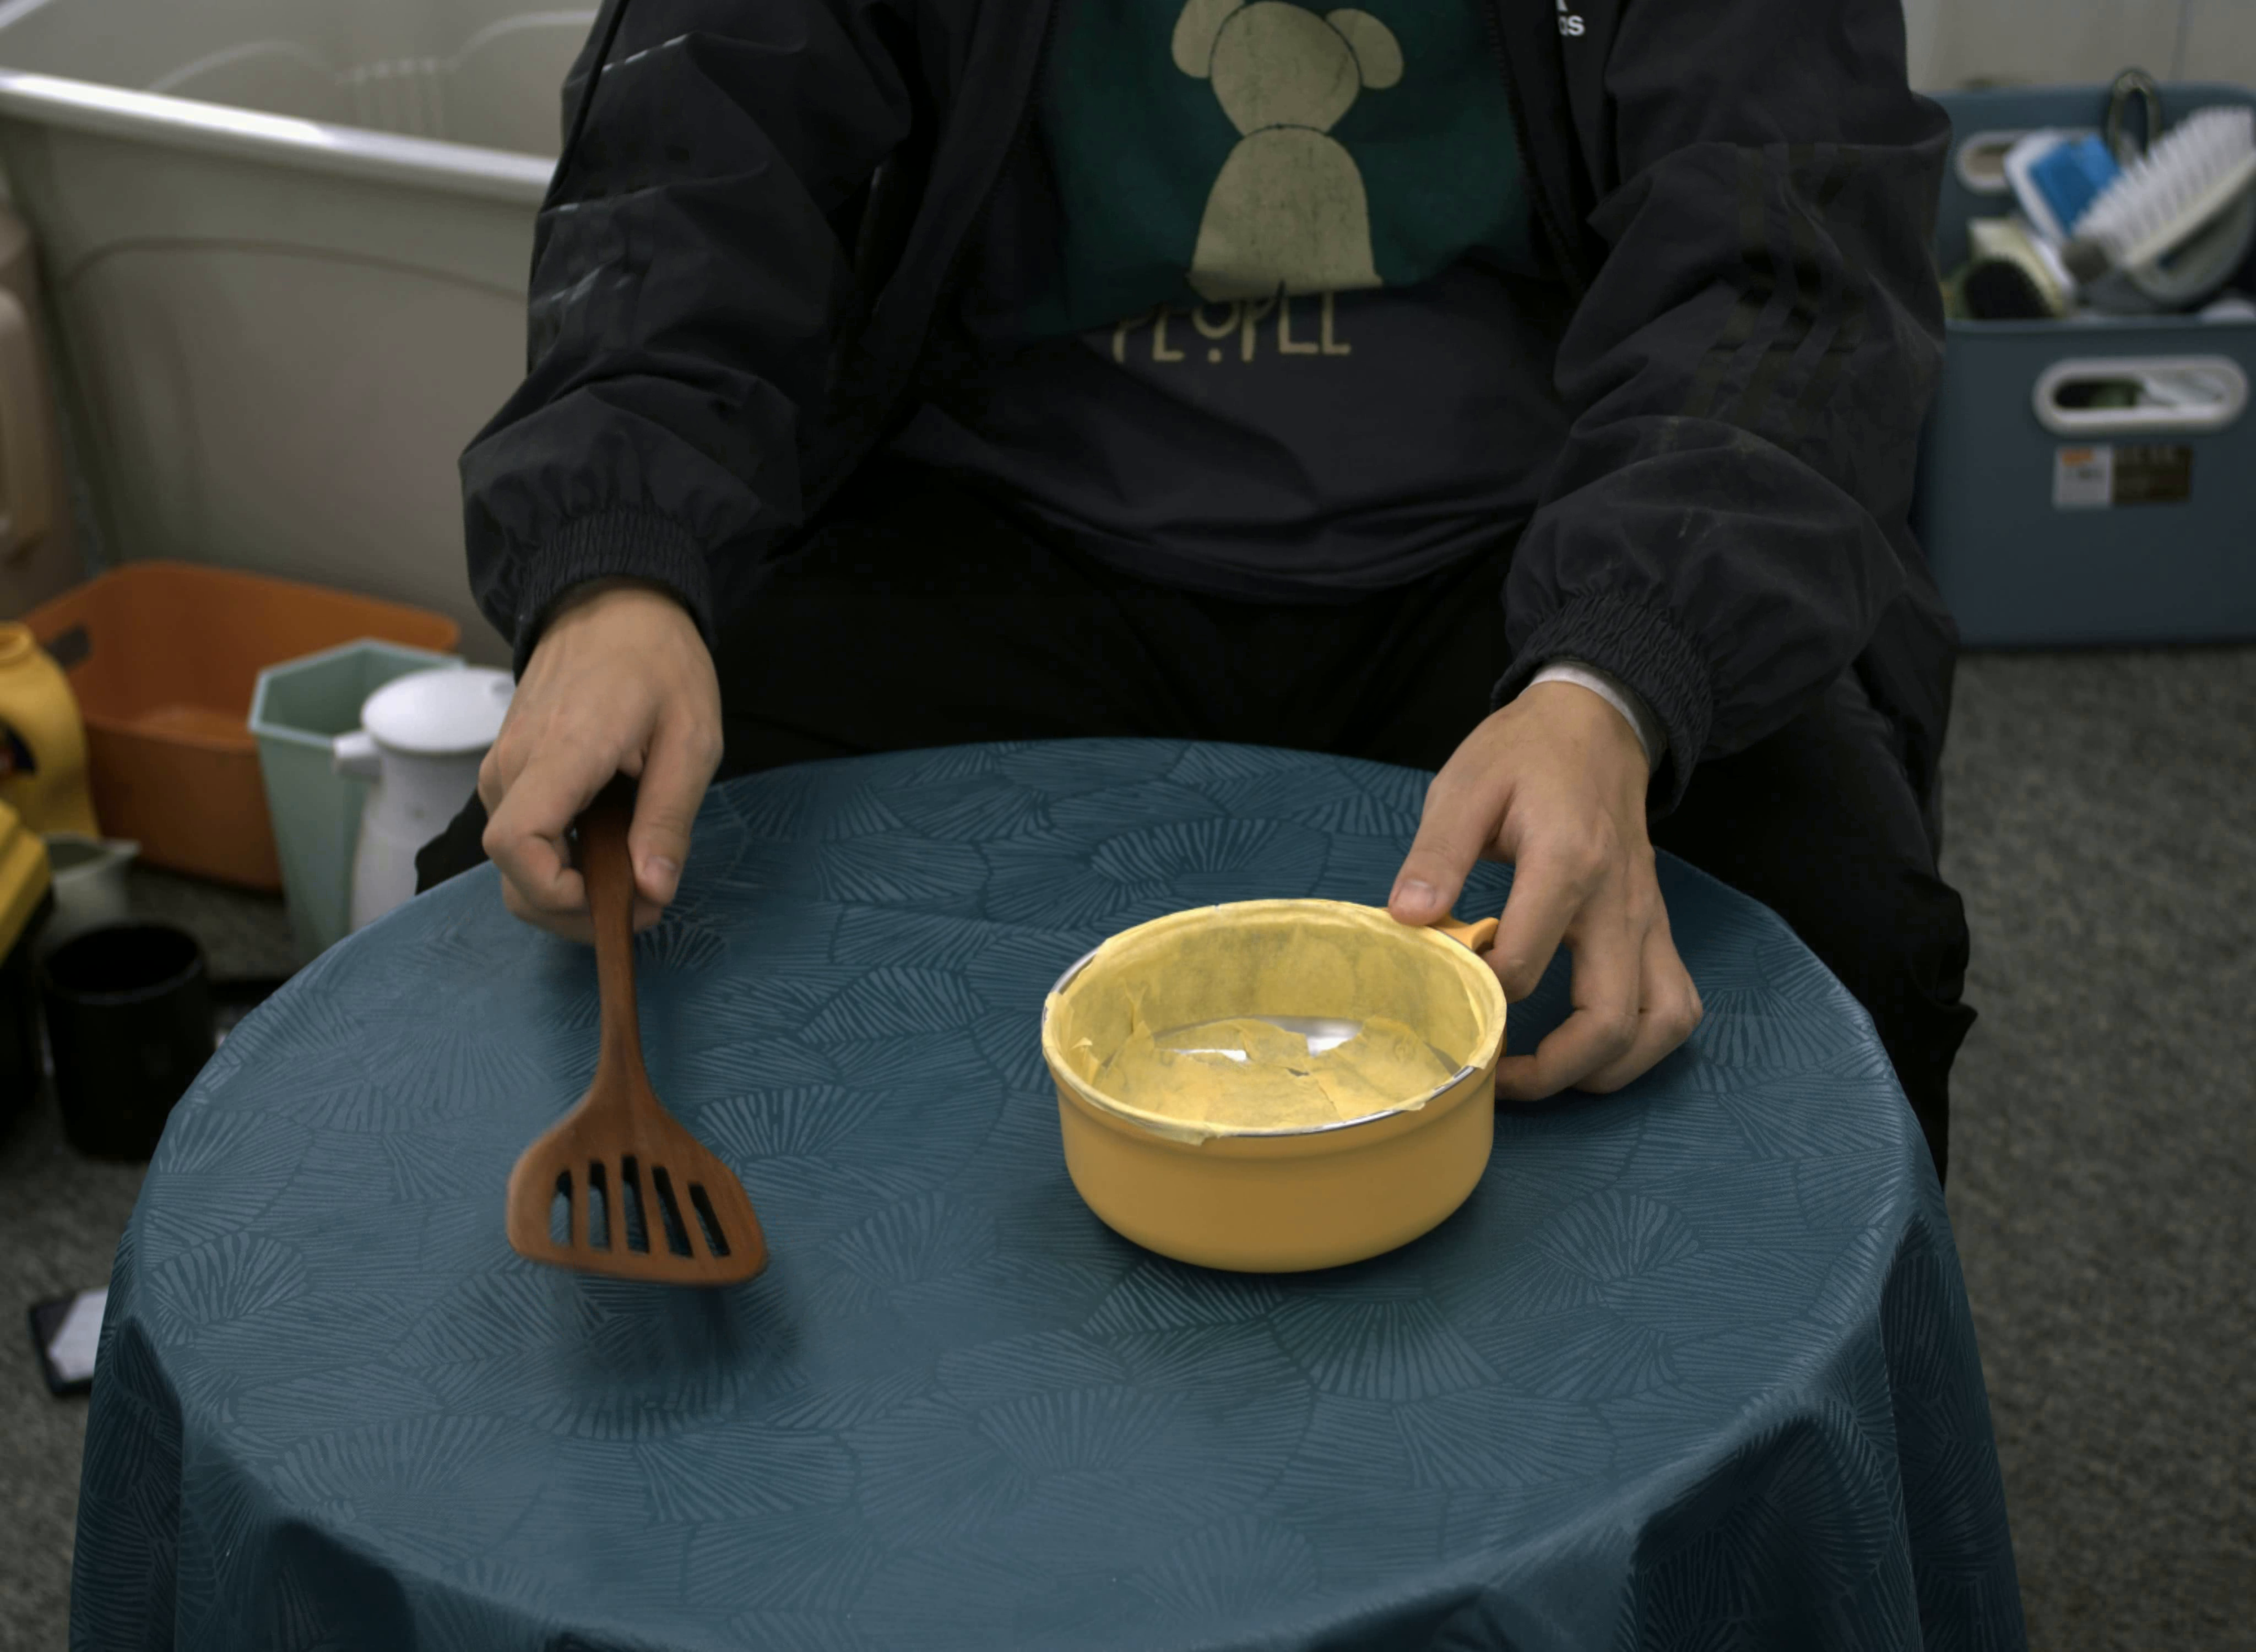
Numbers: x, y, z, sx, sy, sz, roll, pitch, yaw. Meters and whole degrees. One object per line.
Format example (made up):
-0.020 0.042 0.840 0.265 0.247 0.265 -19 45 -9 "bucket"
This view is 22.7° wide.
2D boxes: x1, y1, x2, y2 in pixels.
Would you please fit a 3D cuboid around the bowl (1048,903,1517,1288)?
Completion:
0.060 0.087 1.854 0.152 0.073 0.182 18 34 34 "bowl"

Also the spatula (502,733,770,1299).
-0.171 0.062 1.924 0.085 0.023 0.392 7 27 -9 "spatula"
